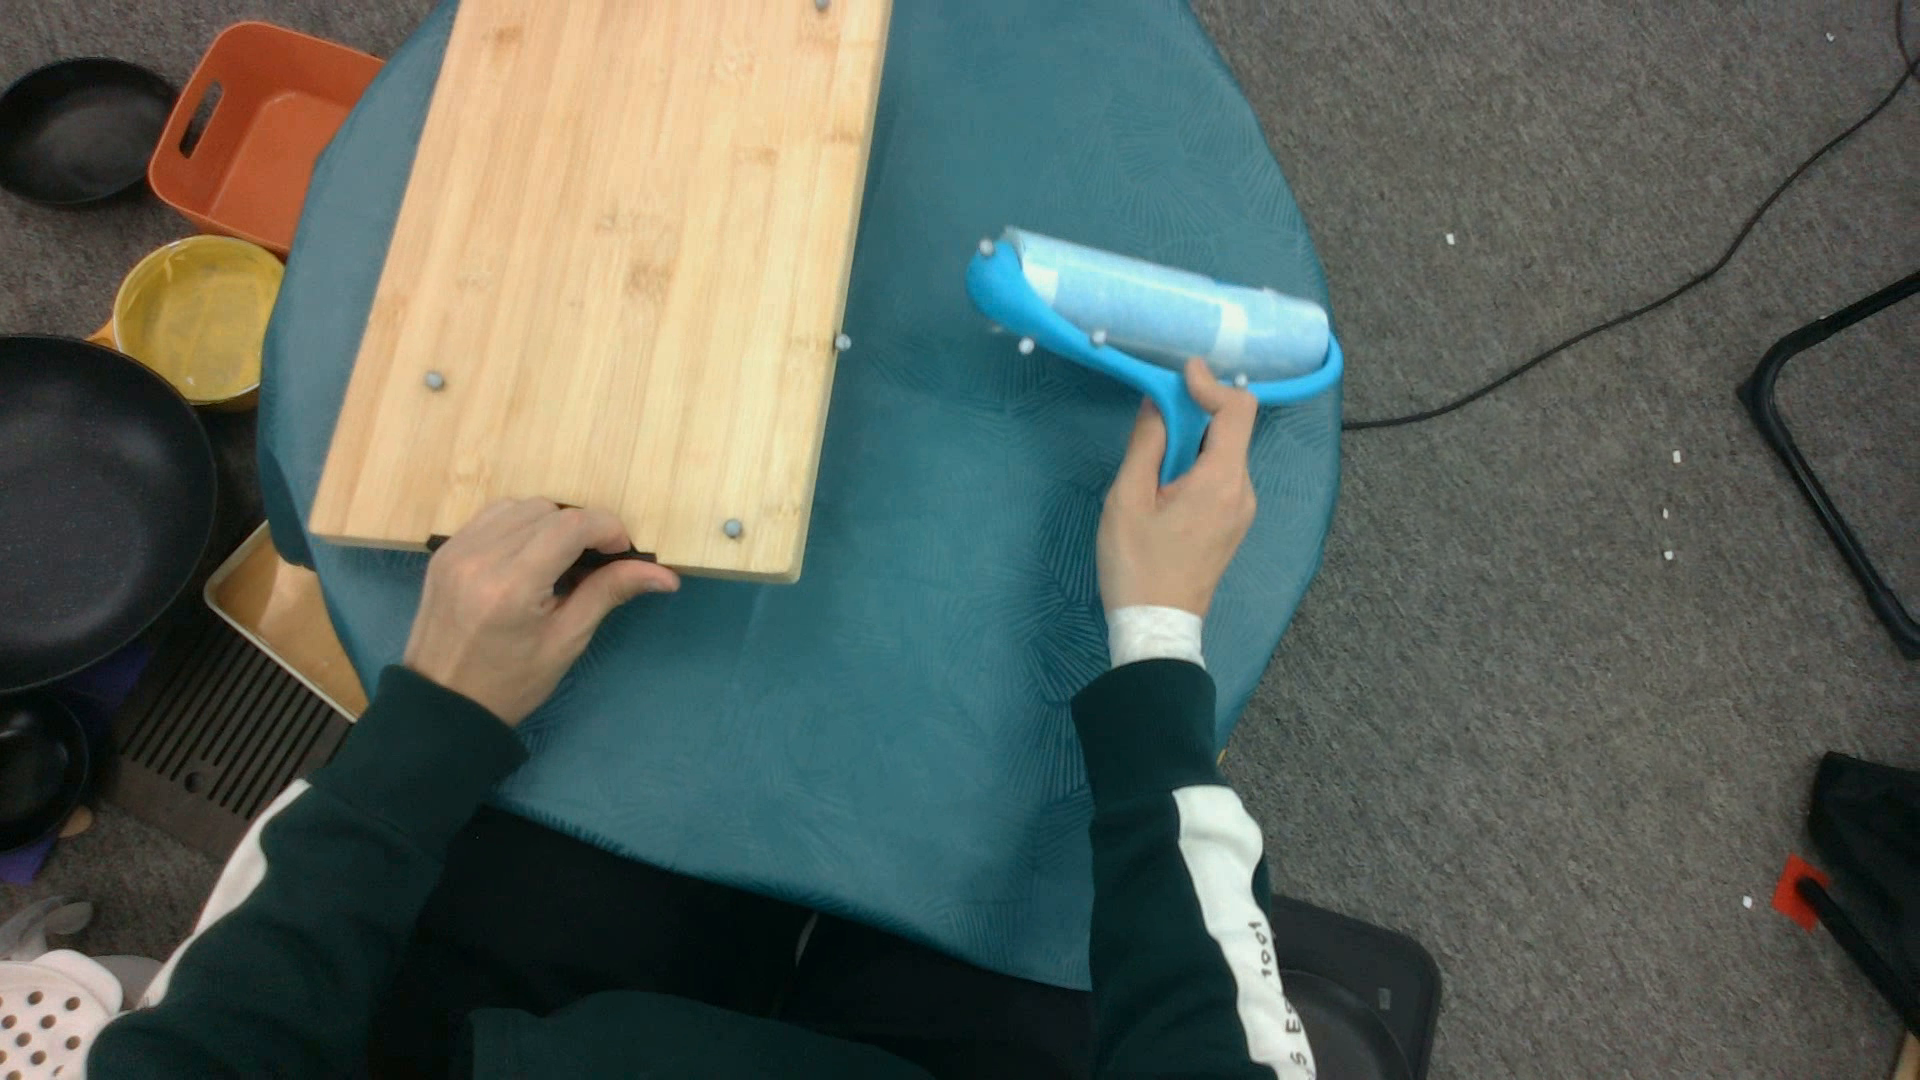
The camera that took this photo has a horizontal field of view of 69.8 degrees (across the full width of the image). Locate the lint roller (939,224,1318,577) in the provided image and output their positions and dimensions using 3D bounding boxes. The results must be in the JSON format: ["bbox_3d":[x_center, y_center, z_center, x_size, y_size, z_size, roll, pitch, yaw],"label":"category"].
[{"bbox_3d":[0.099,-0.074,0.747,0.229,0.067,0.180,4,74,-25],"label":"lint roller"}]

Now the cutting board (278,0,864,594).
[{"bbox_3d":[-0.189,-0.146,0.707,0.250,0.023,0.349,2,71,6],"label":"cutting board"}]
